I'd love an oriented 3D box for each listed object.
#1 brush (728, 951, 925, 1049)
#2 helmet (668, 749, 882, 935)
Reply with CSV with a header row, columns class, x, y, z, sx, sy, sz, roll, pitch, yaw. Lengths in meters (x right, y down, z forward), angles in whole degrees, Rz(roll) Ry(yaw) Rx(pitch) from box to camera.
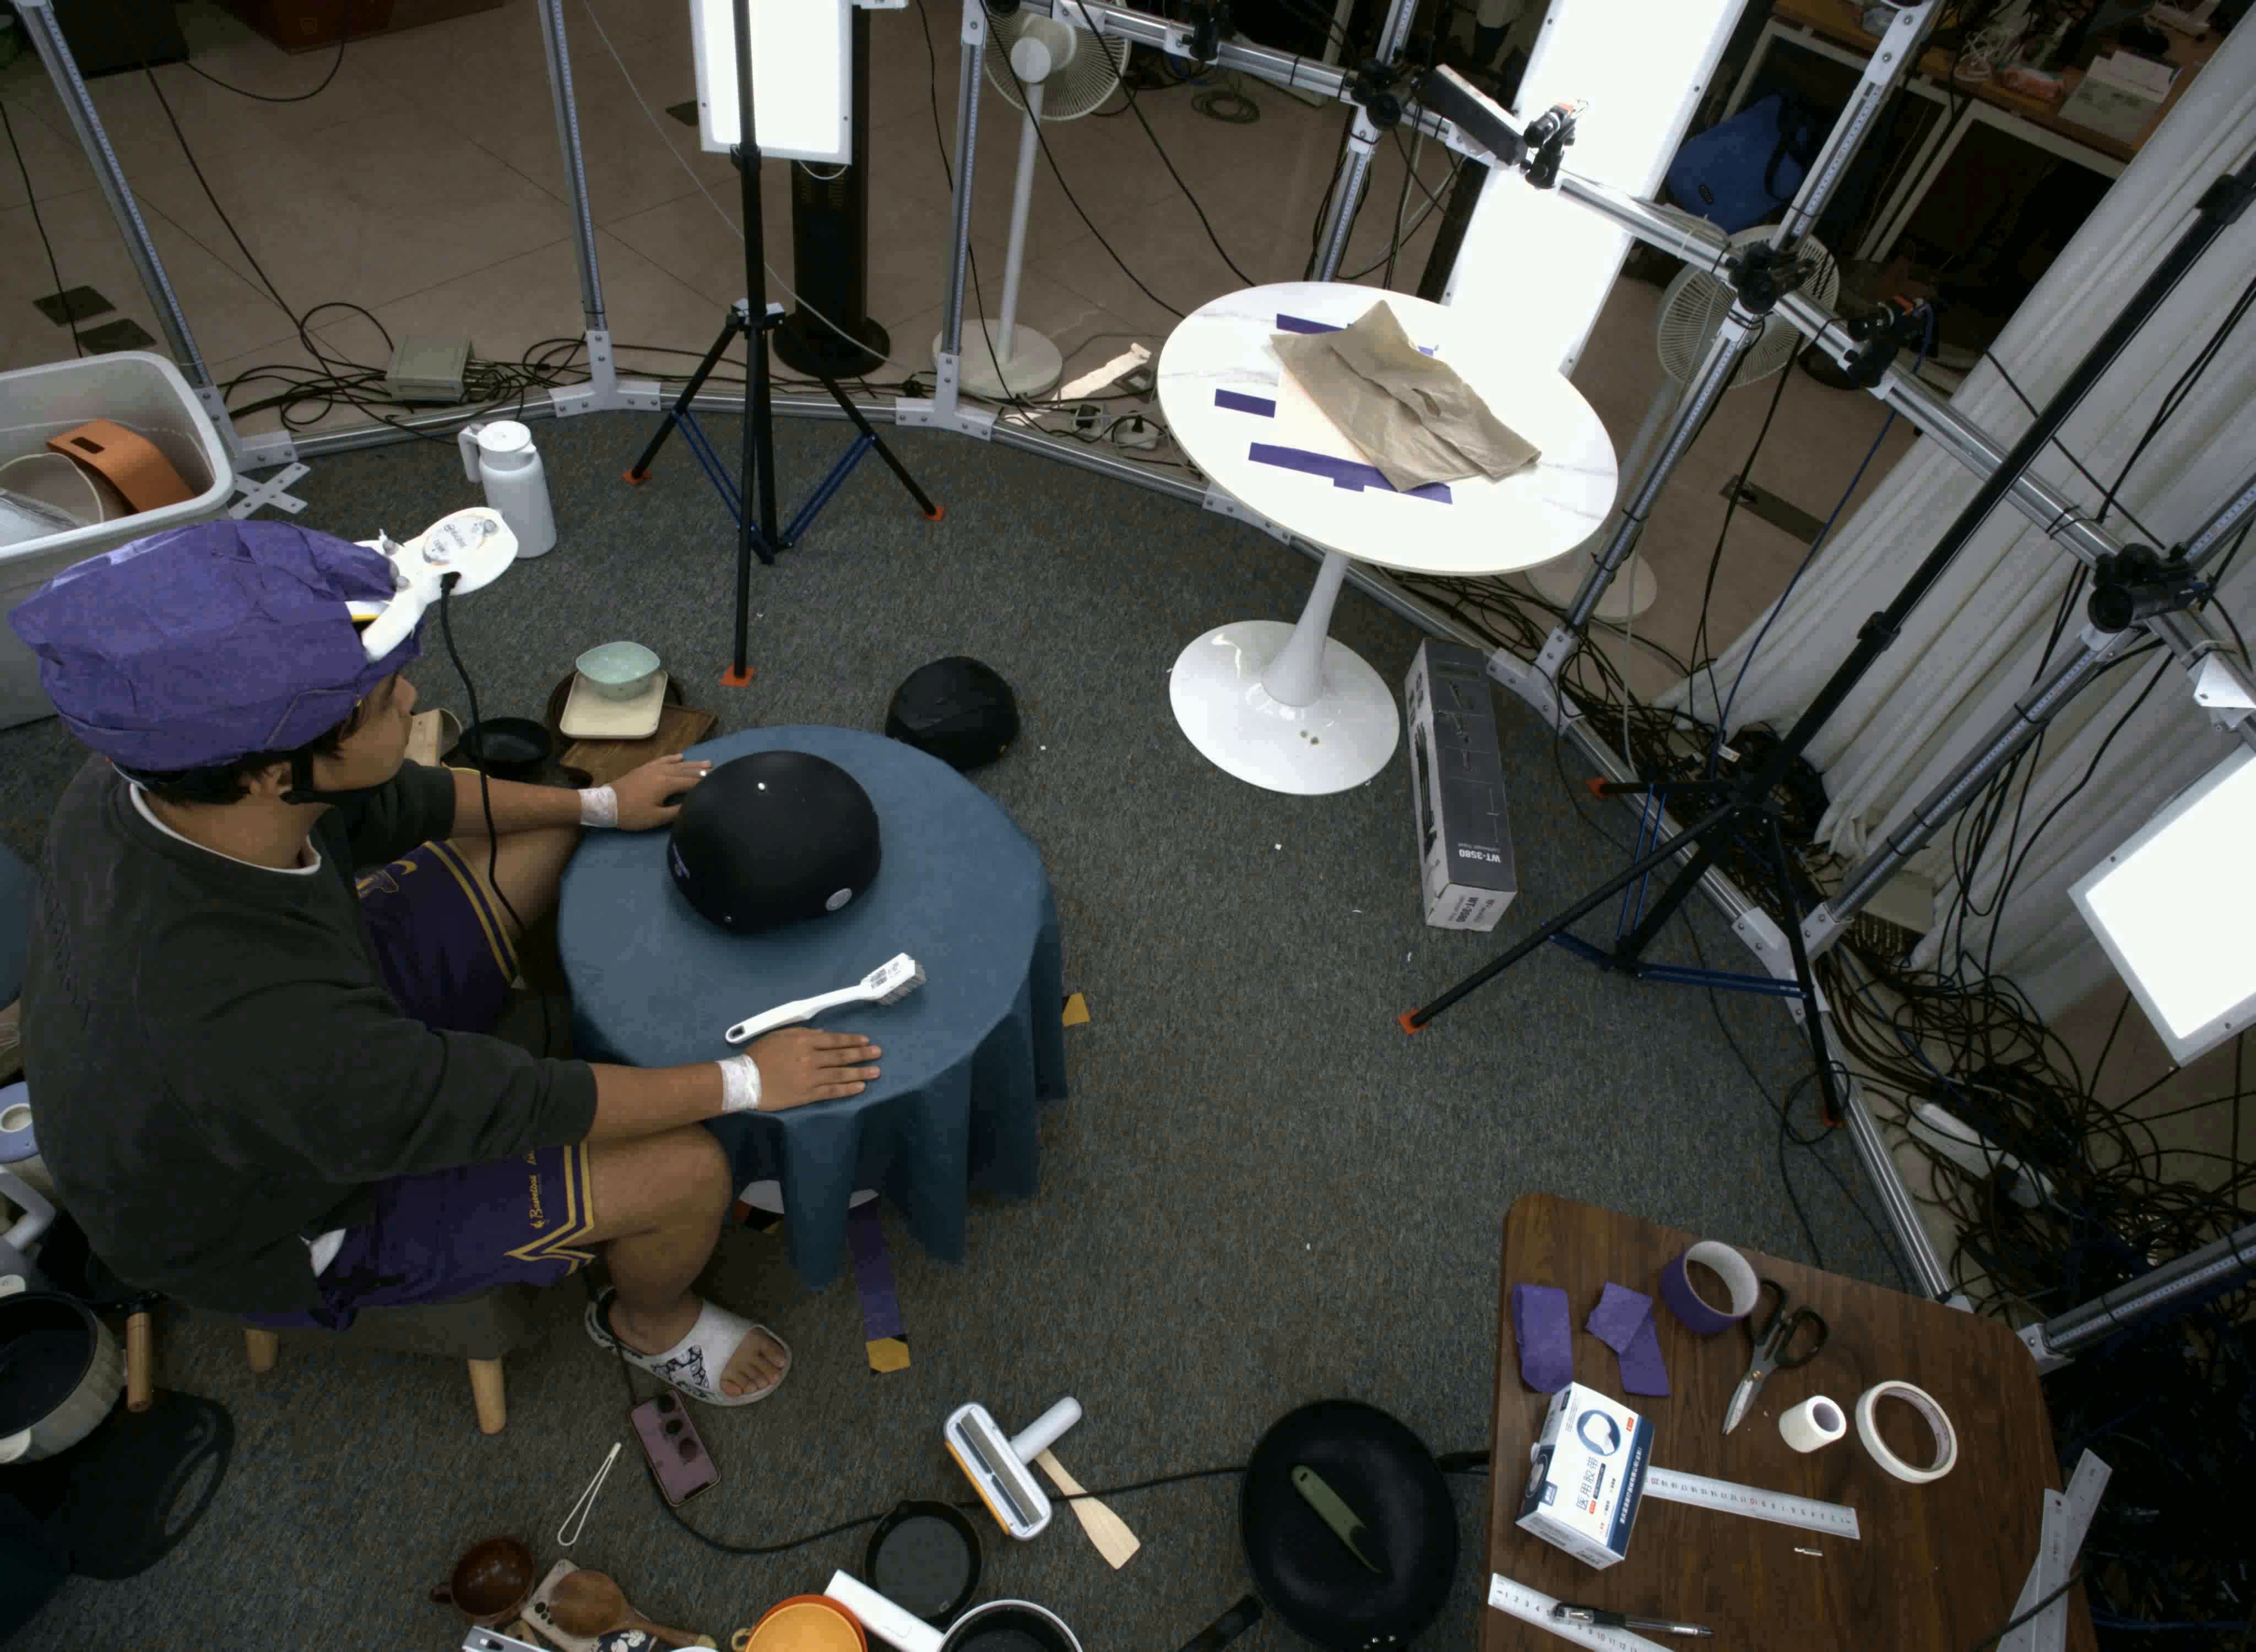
class,x,y,z,sx,sy,sz,roll,pitch,yaw
brush,-0.362,0.218,1.567,0.243,0.052,0.033,-25,52,-14
helmet,-0.440,-0.001,1.624,0.275,0.169,0.225,-16,61,-26
